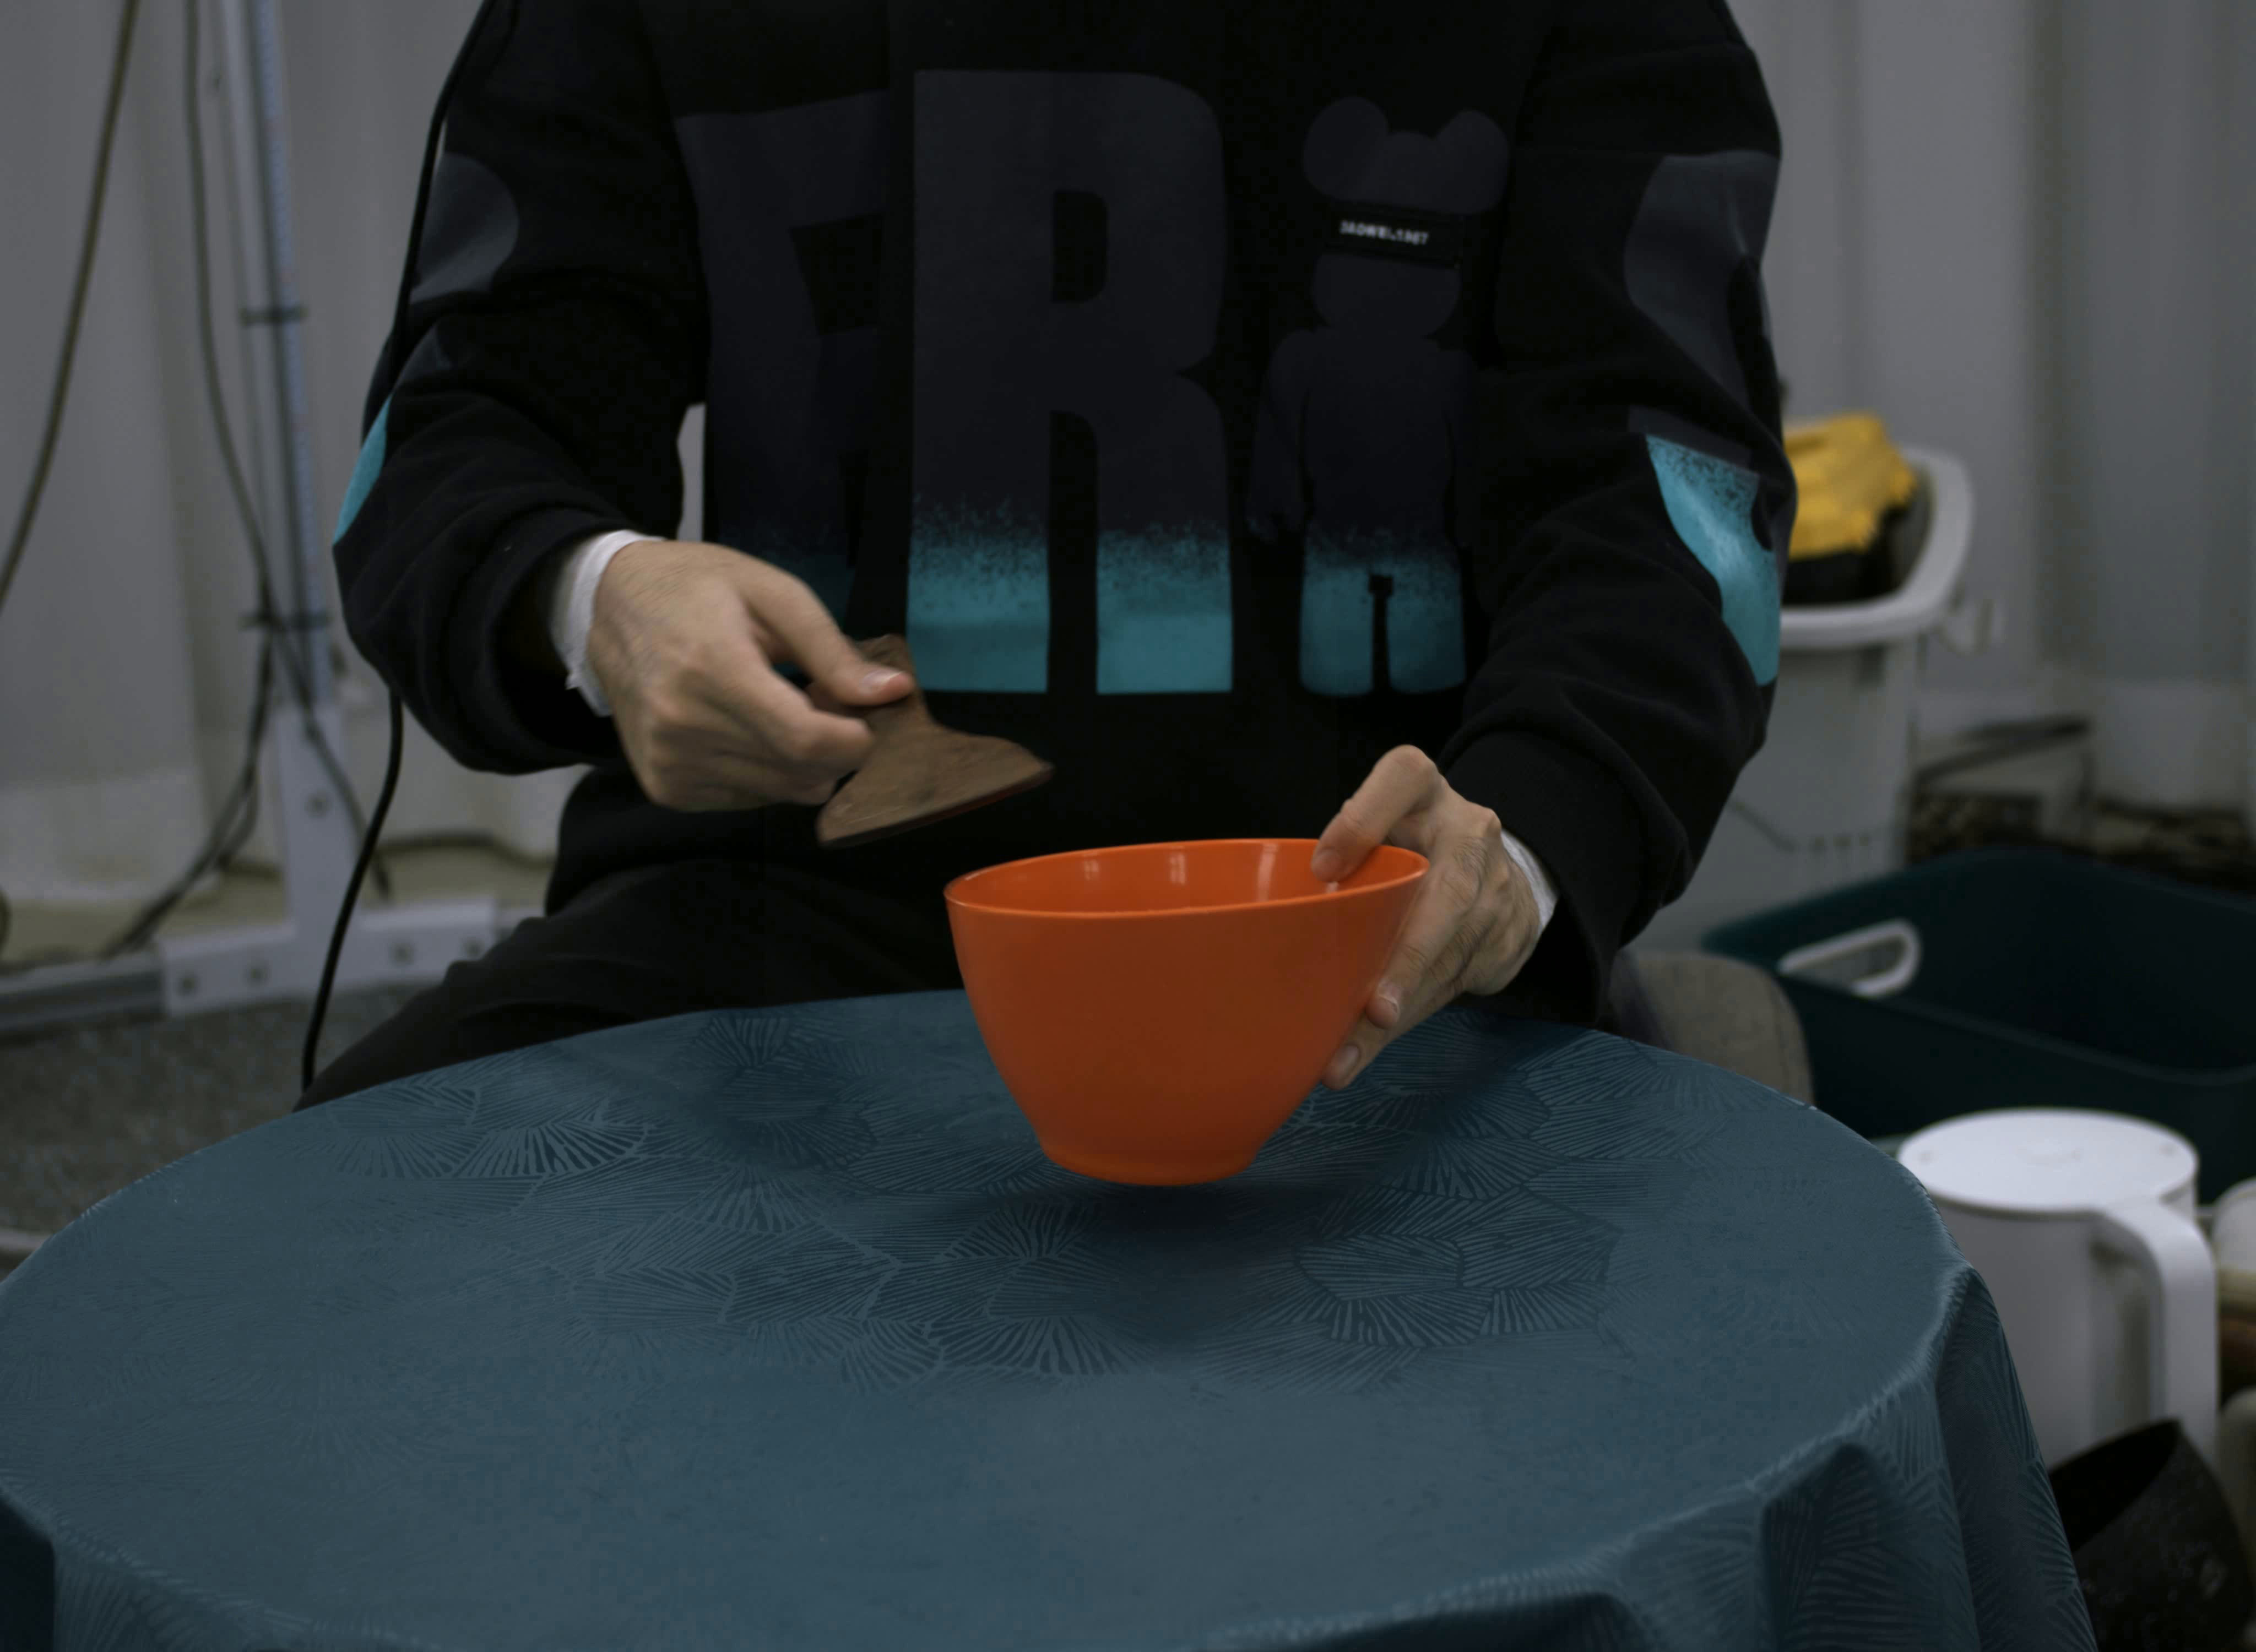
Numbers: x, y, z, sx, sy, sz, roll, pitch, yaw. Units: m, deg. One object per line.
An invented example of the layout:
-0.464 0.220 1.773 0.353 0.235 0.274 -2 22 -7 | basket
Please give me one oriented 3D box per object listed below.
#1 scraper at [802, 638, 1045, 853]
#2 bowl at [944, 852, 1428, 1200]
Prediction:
-0.075 -0.029 1.743 0.075 0.011 0.213 -17 18 -4 | scraper
0.016 0.058 1.672 0.147 0.104 0.149 2 13 -1 | bowl
